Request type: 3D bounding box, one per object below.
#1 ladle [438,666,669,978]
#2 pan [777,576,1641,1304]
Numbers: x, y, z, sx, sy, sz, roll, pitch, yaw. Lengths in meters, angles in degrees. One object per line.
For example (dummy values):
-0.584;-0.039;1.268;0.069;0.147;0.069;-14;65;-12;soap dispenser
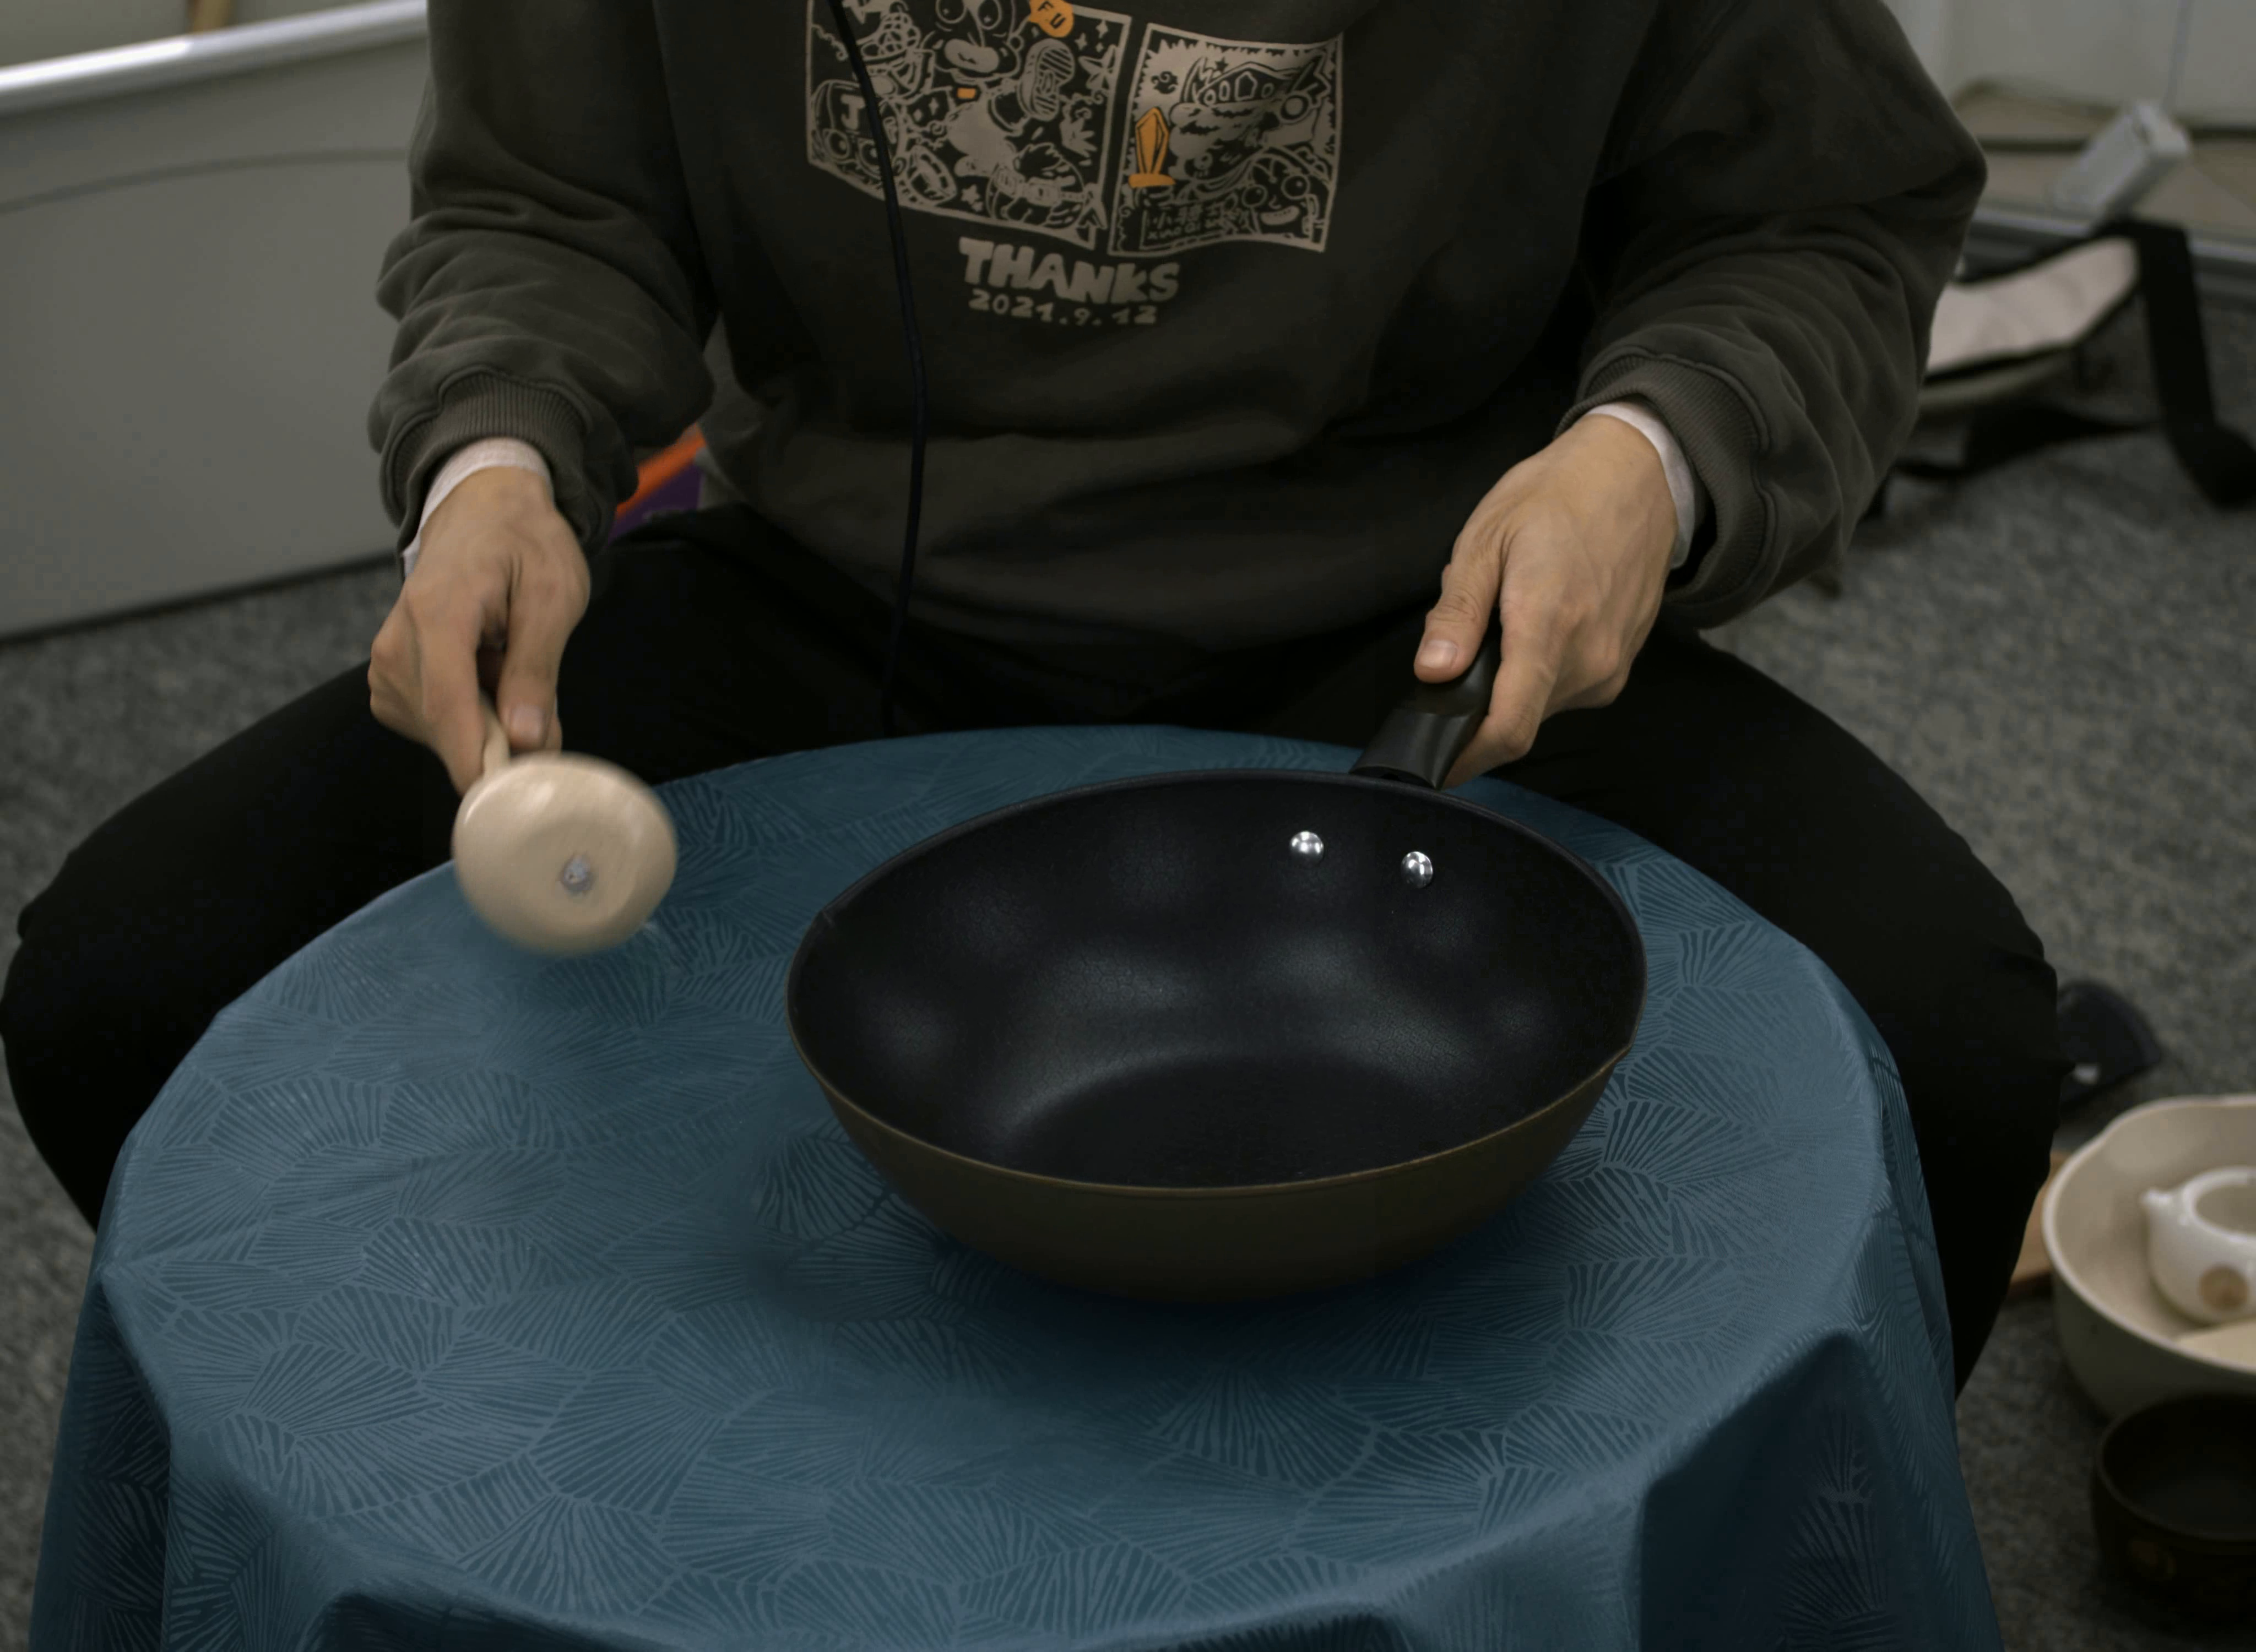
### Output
-0.201;-0.026;1.912;0.072;0.072;0.257;37;14;-23;ladle
0.065;0.040;1.922;0.286;0.086;0.471;9;29;22;pan
